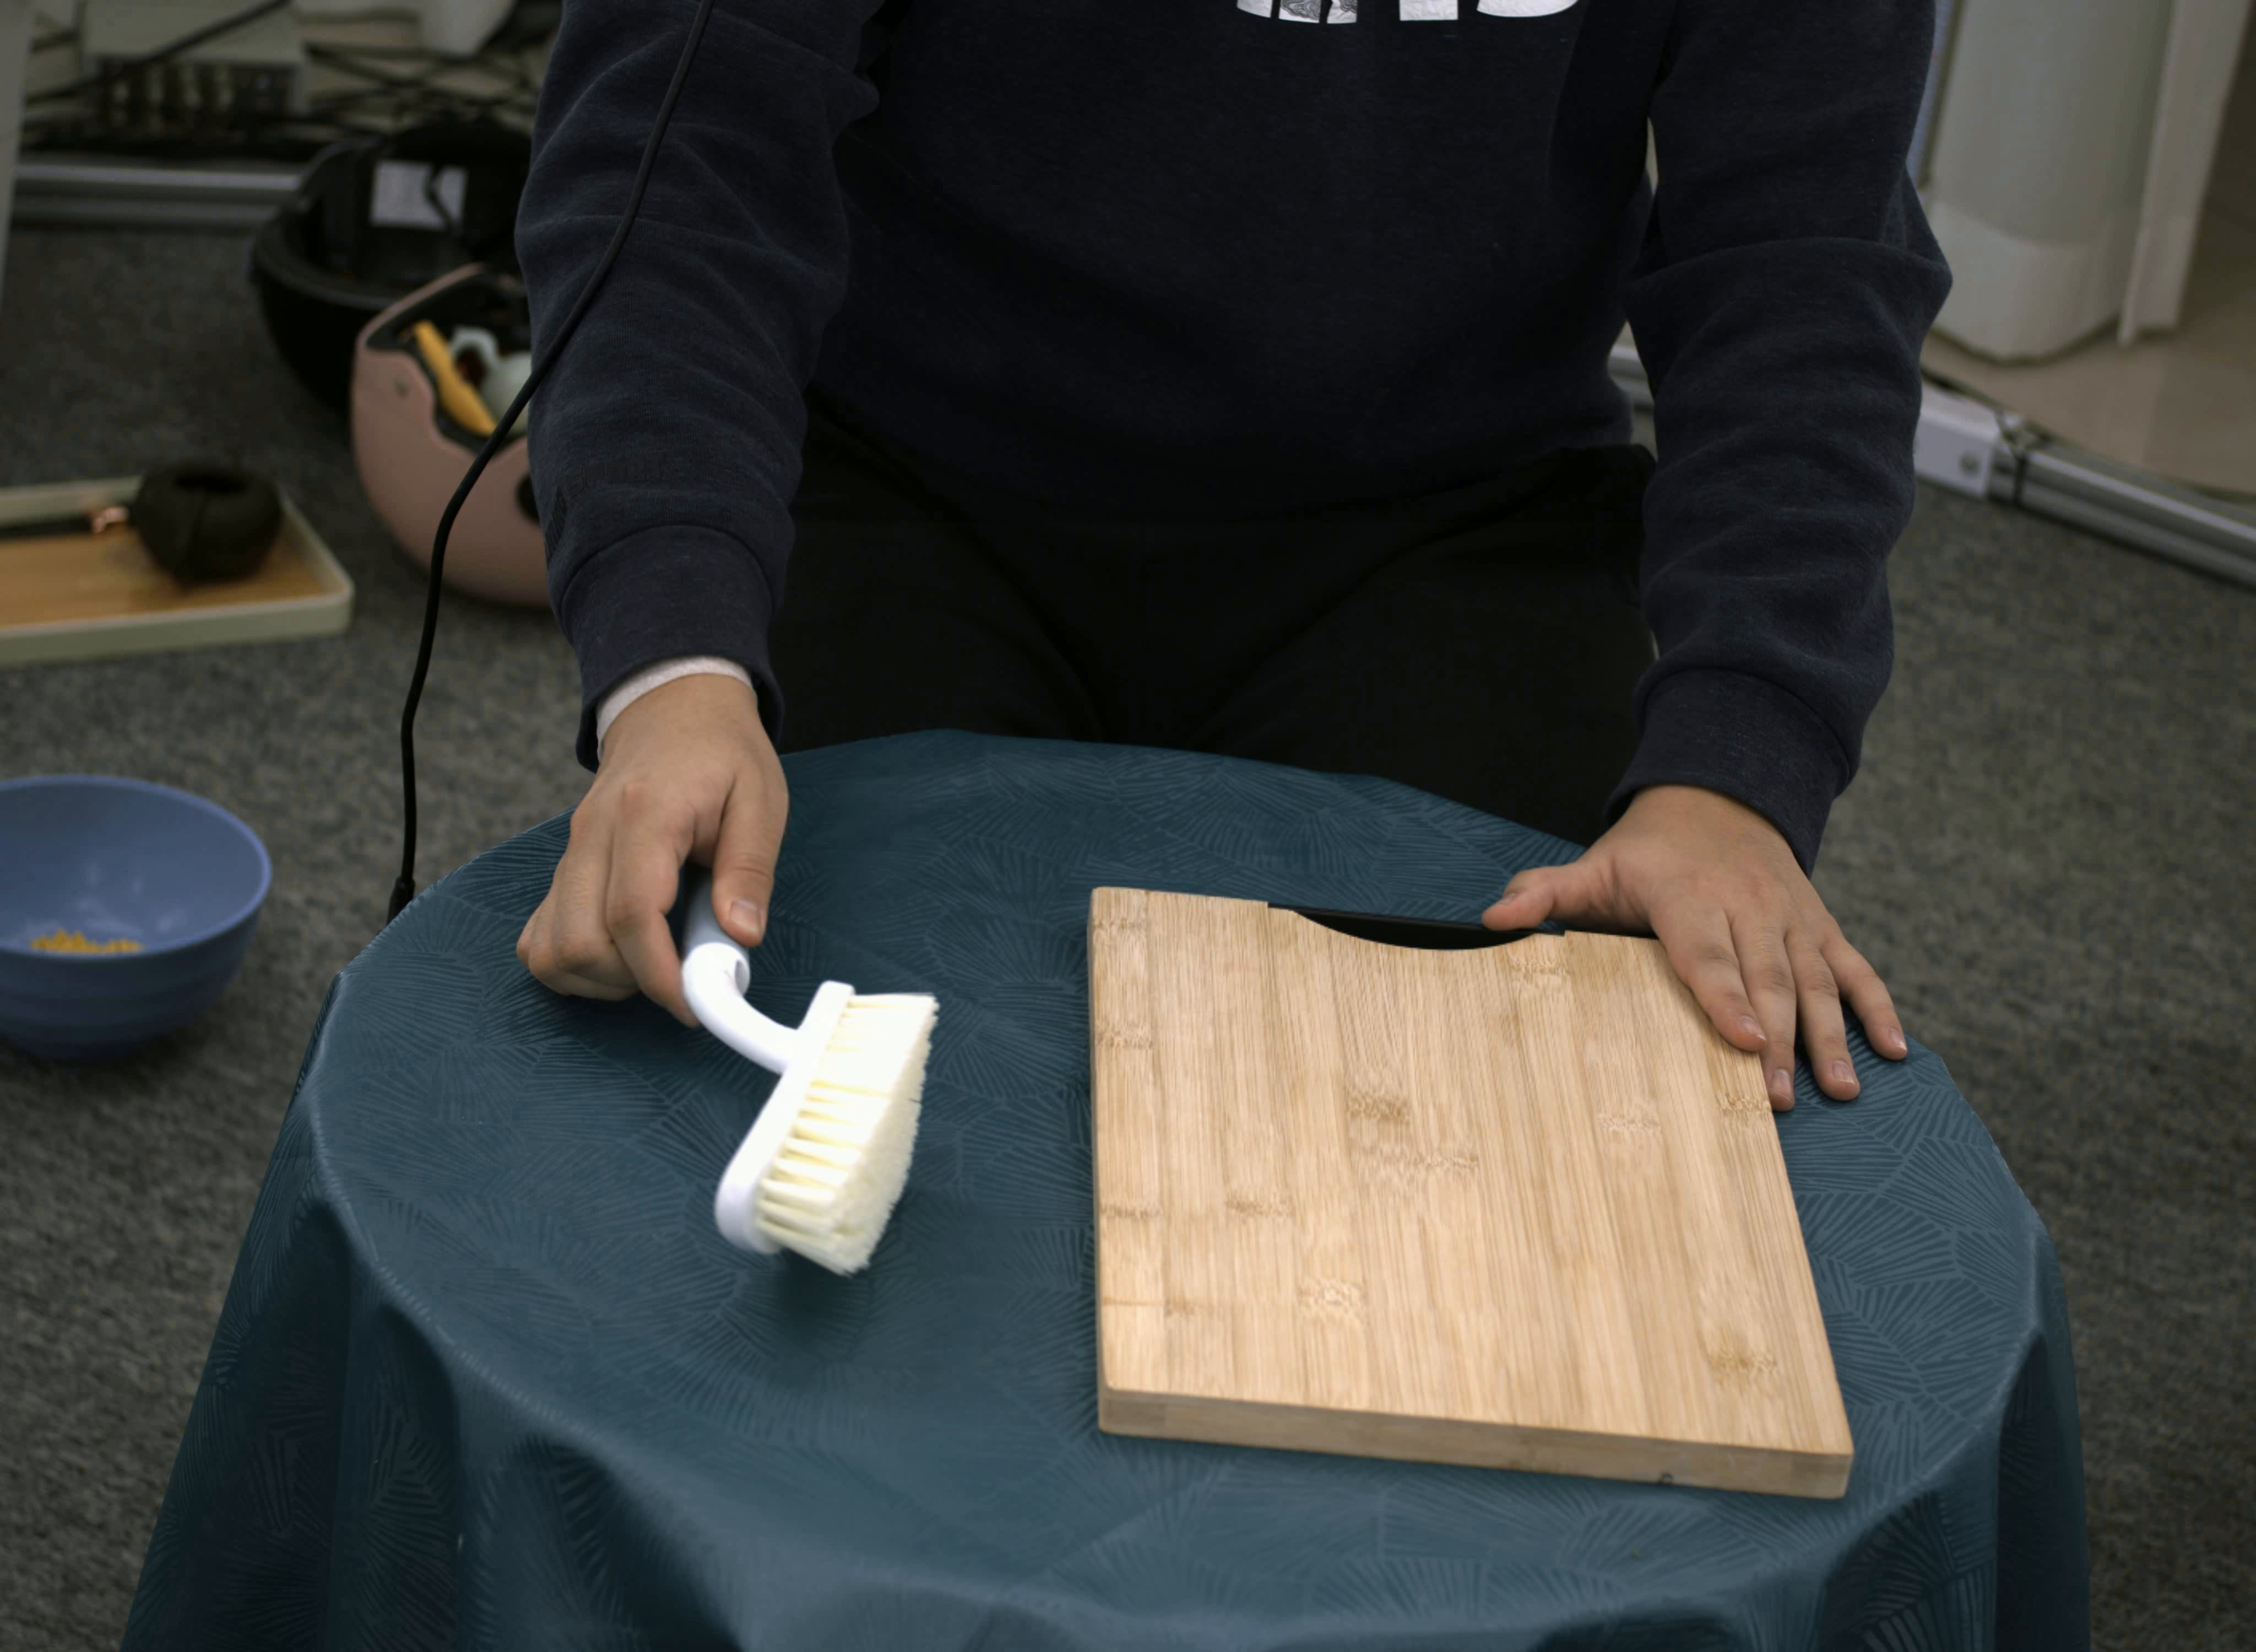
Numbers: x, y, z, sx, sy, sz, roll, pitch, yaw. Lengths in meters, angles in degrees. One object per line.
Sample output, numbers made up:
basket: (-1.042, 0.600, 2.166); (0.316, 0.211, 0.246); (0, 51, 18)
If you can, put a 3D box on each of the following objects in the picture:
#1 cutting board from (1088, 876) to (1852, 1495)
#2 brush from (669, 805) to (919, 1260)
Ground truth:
cutting board: (0.107, 0.116, 1.829); (0.250, 0.023, 0.351); (5, 27, -4)
brush: (-0.104, 0.058, 1.819); (0.084, 0.083, 0.327); (39, 14, -17)
